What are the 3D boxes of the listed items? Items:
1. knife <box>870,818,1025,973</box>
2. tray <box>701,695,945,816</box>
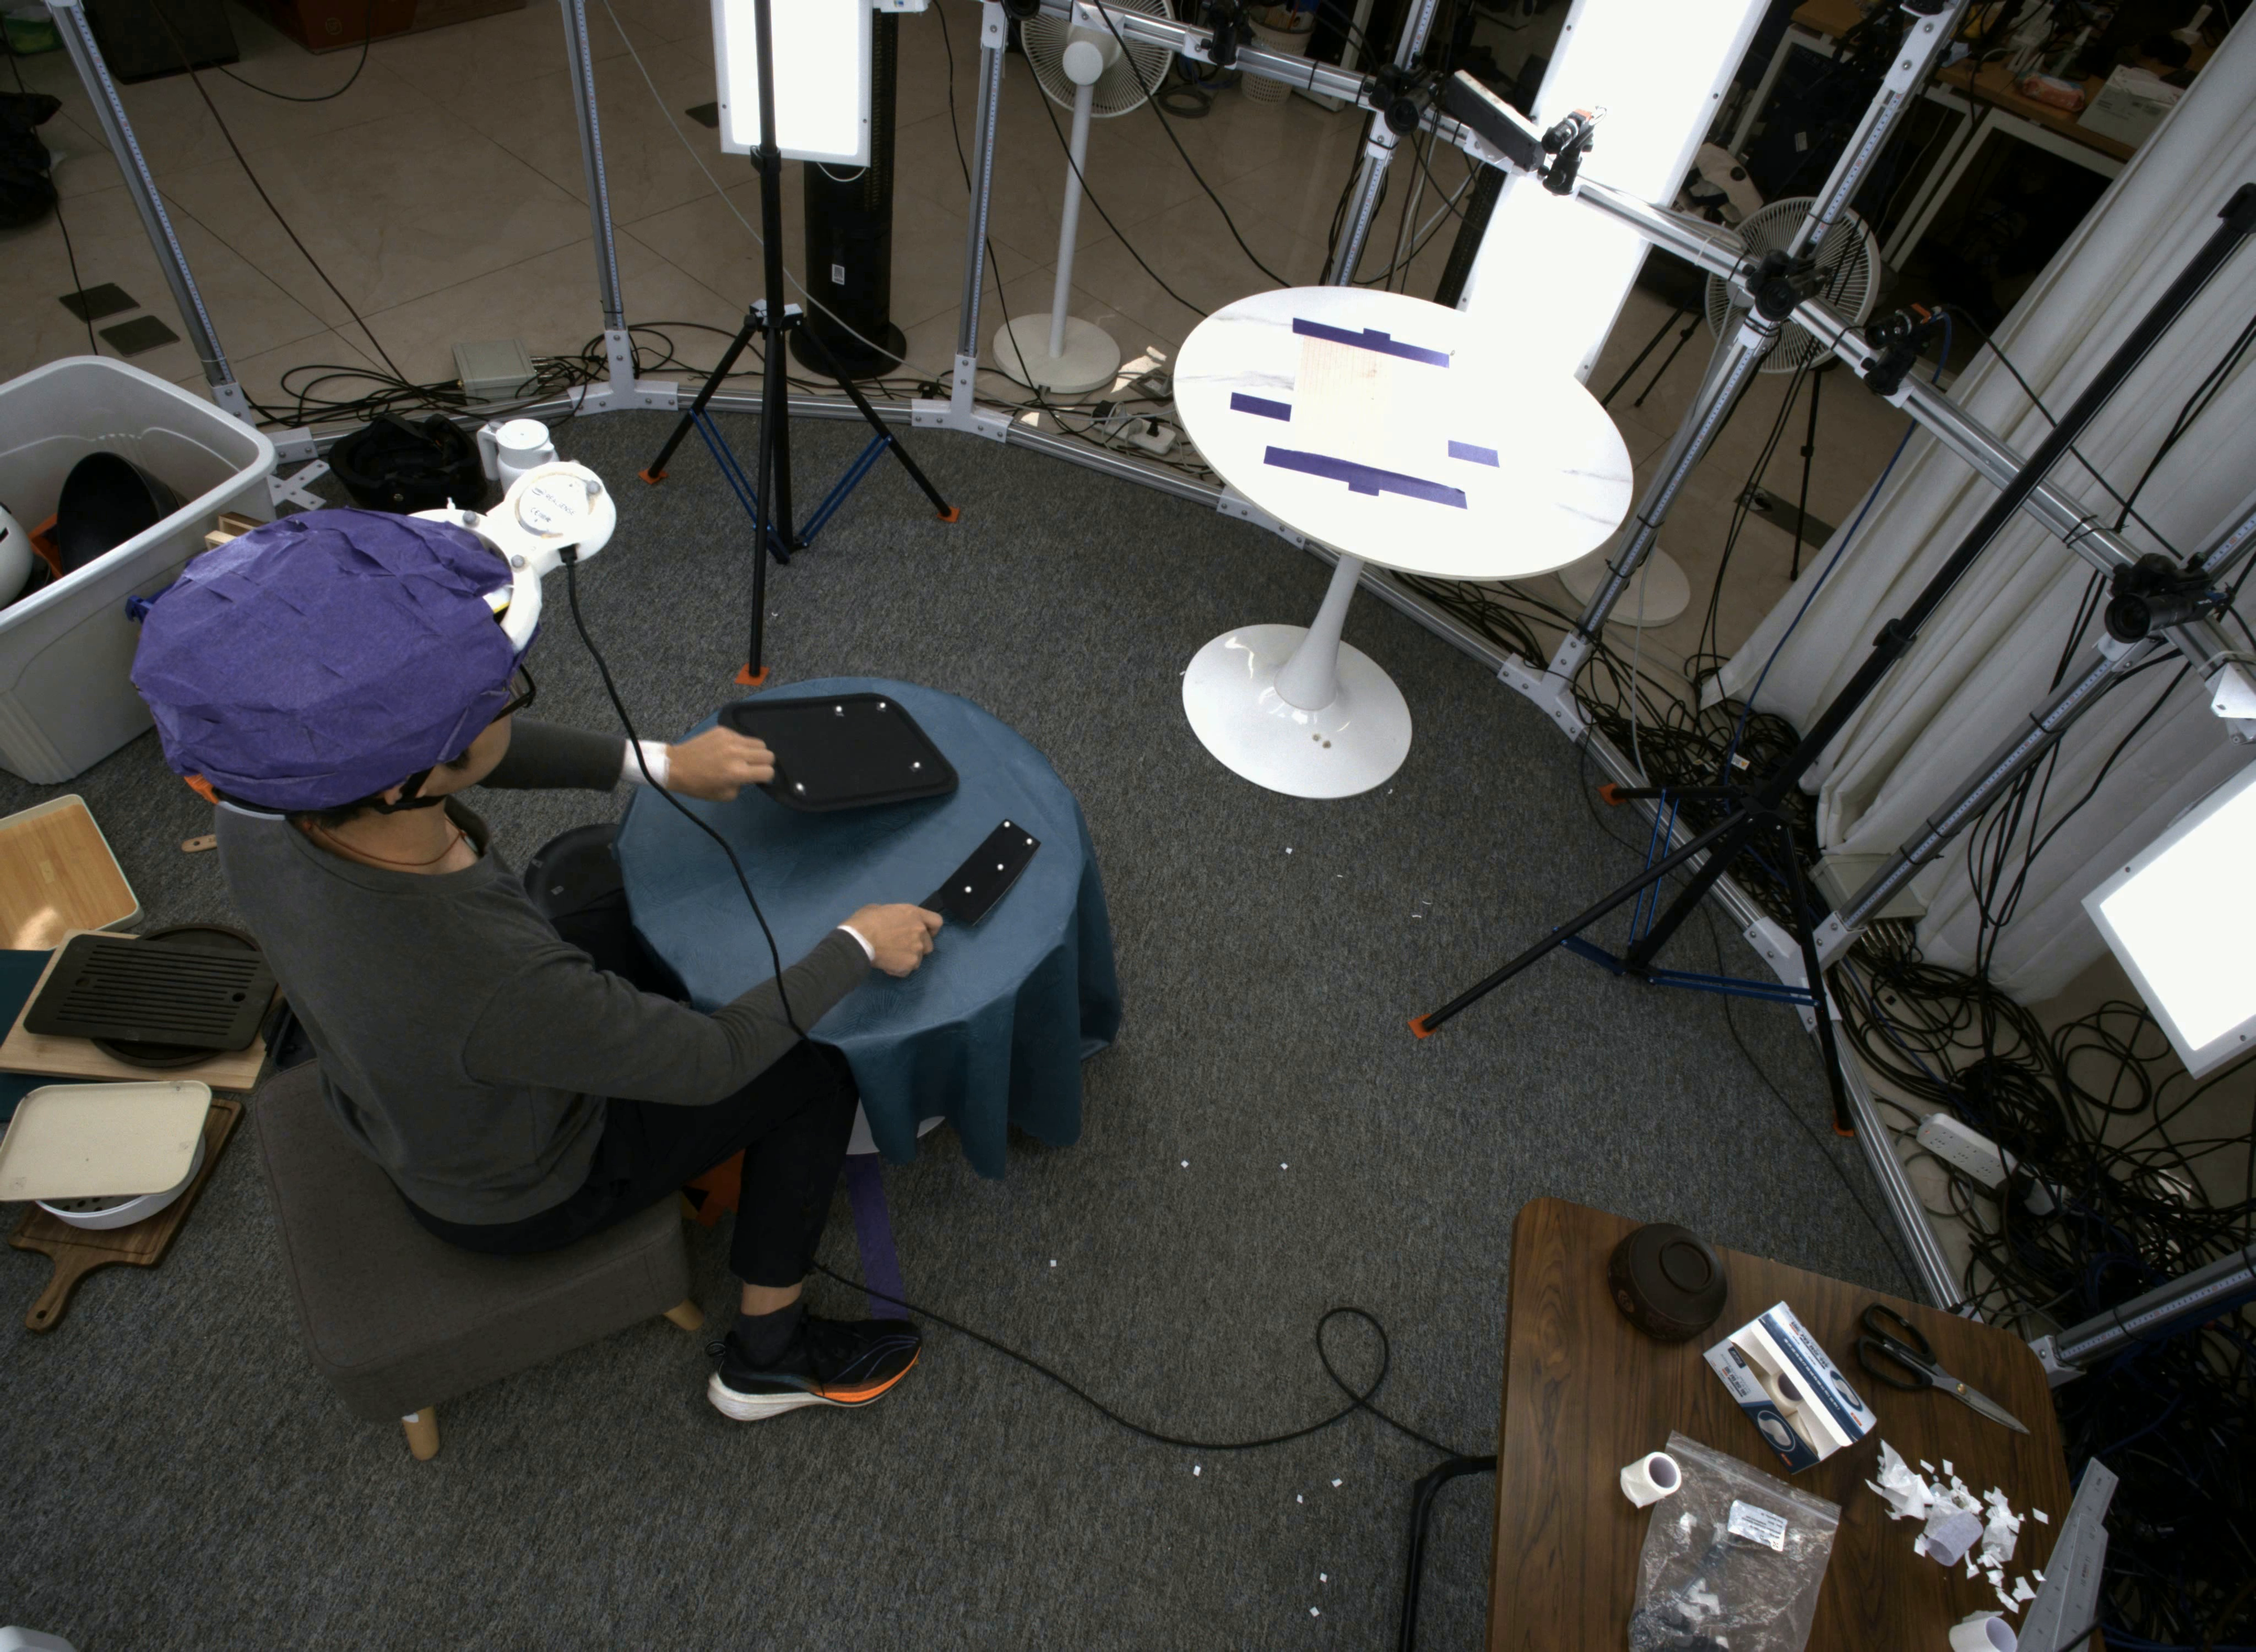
[{"bbox_3d":[-0.233,0.088,1.693,0.080,0.021,0.302,37,47,7],"label":"knife"},{"bbox_3d":[-0.406,-0.100,1.731,0.330,0.010,0.206,-14,55,-50],"label":"tray"}]
